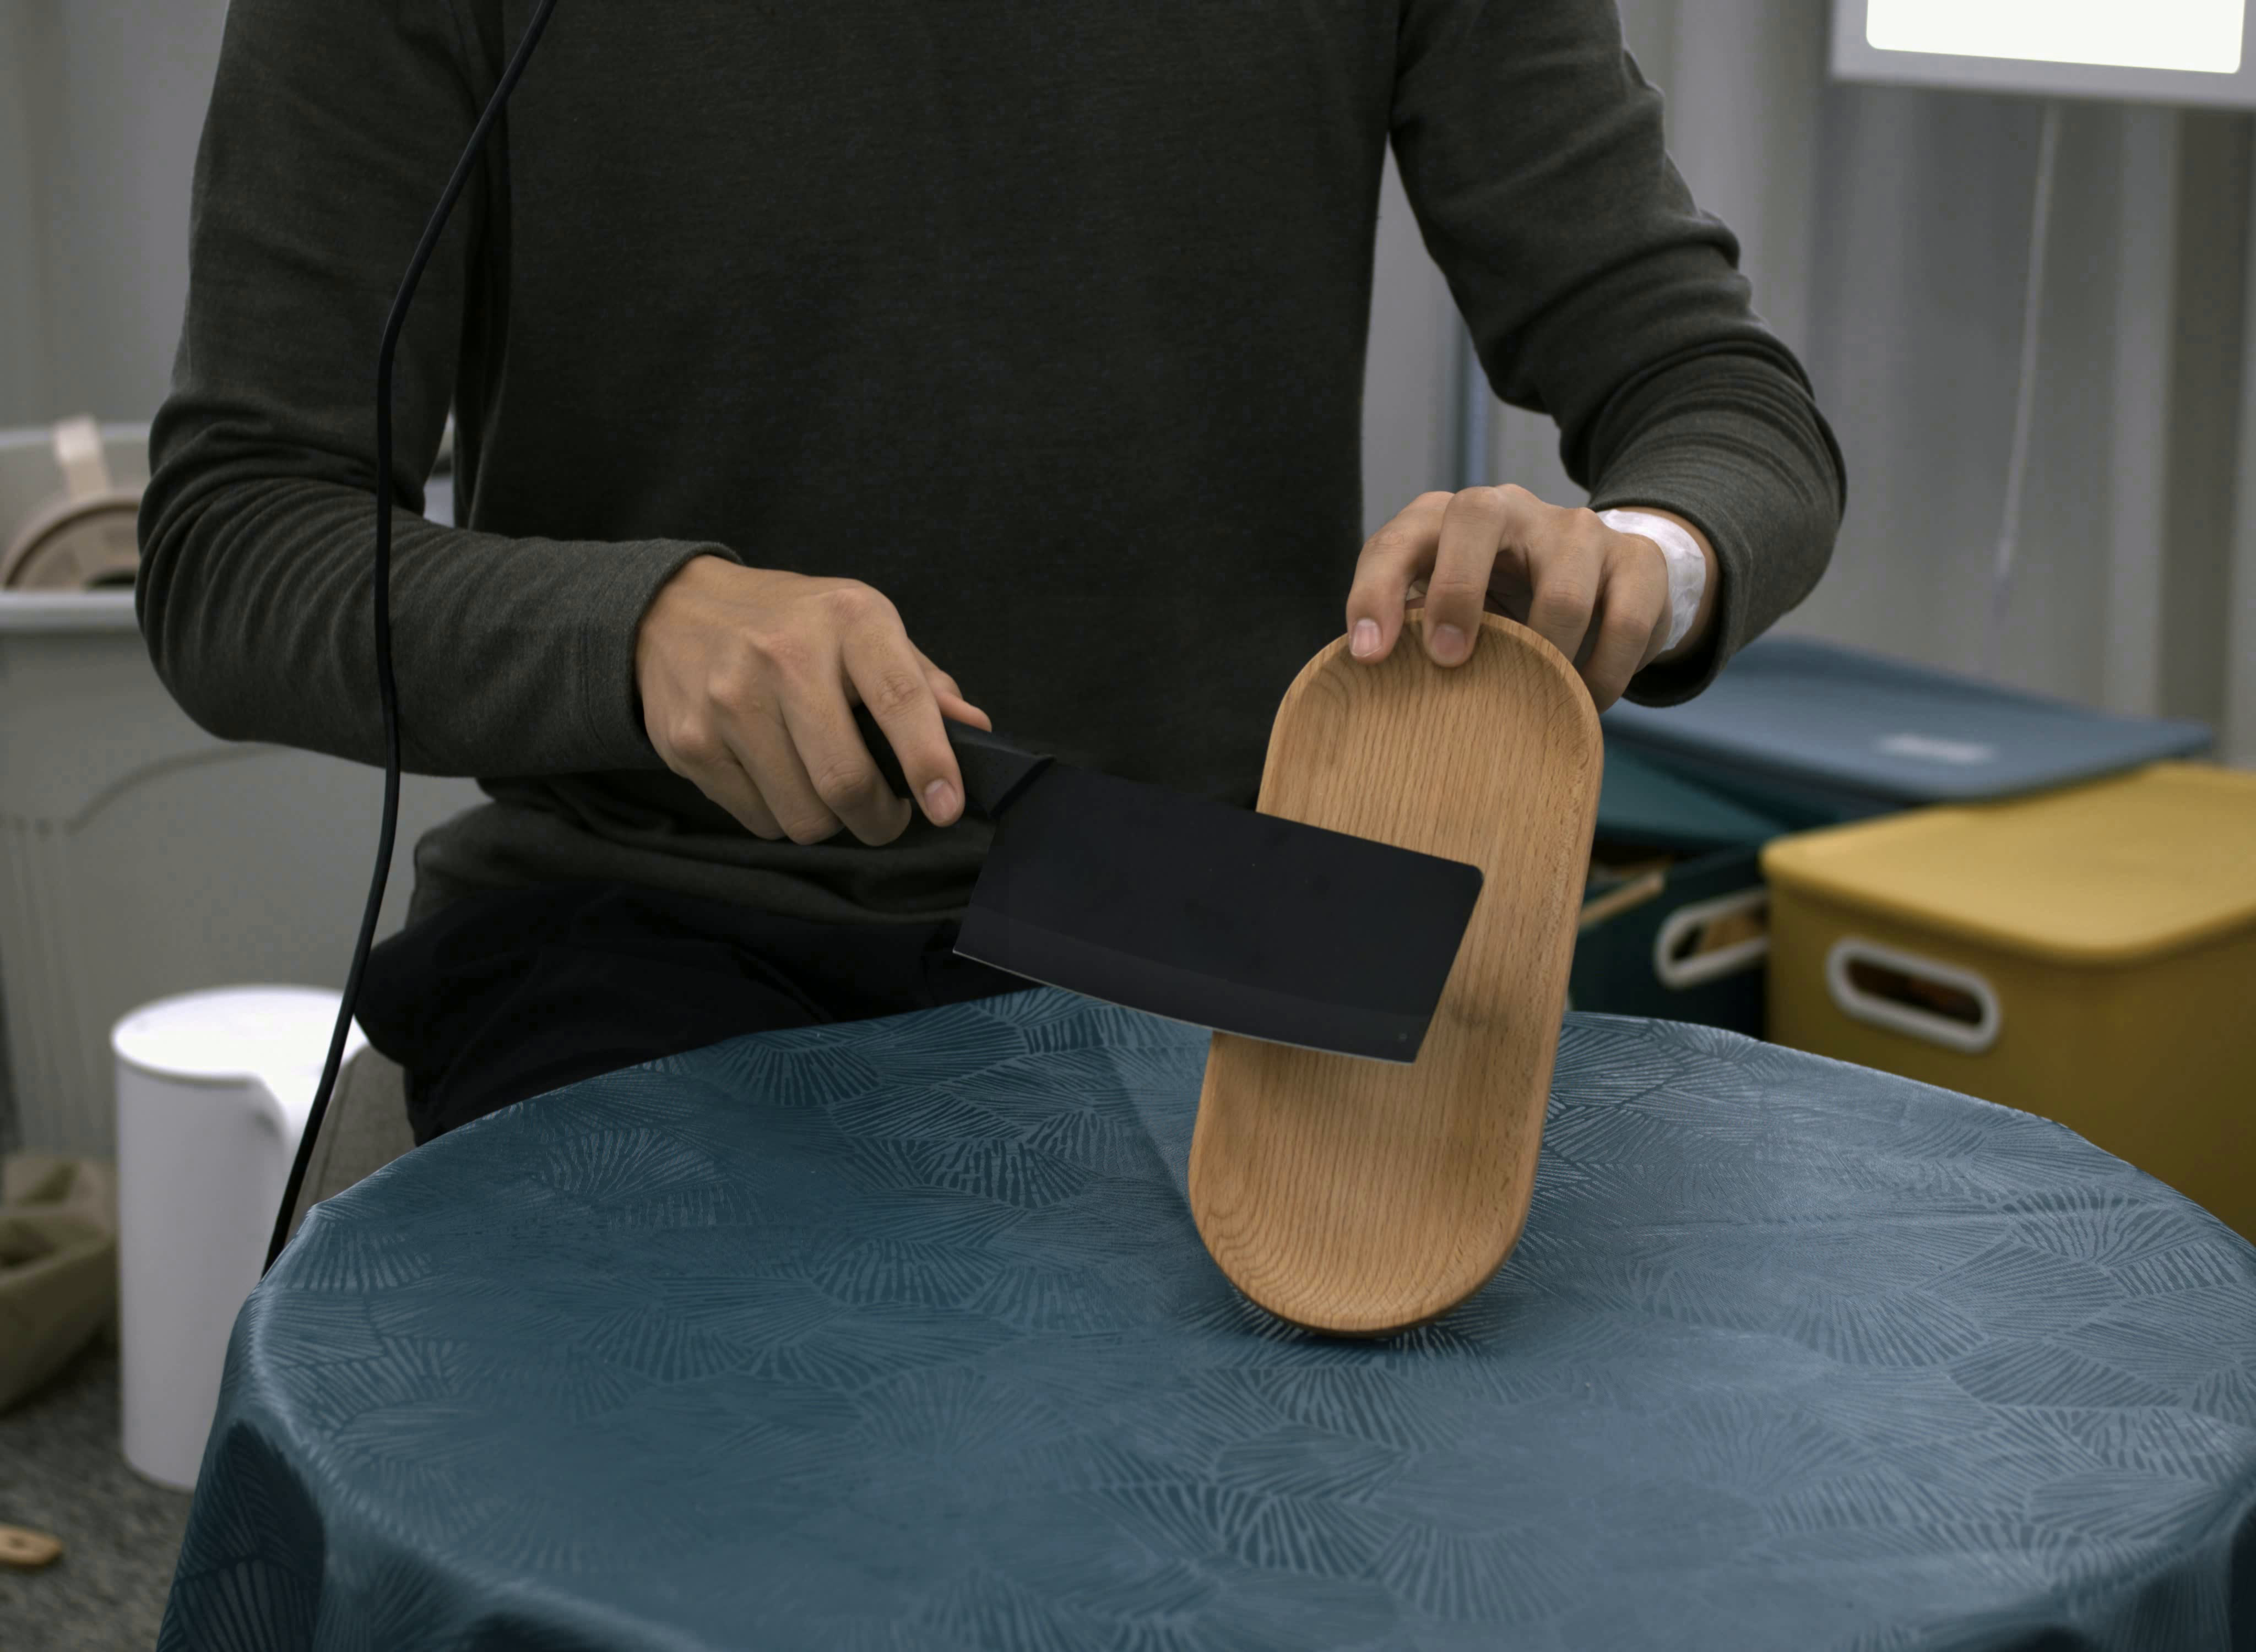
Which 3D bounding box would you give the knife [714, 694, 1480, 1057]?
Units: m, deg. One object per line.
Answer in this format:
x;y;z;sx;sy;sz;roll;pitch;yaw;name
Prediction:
-0.018;0.010;1.577;0.298;0.081;0.021;20;-8;41;knife

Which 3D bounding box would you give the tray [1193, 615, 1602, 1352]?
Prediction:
0.080;0.044;1.541;0.101;0.230;0.020;5;-21;11;tray
